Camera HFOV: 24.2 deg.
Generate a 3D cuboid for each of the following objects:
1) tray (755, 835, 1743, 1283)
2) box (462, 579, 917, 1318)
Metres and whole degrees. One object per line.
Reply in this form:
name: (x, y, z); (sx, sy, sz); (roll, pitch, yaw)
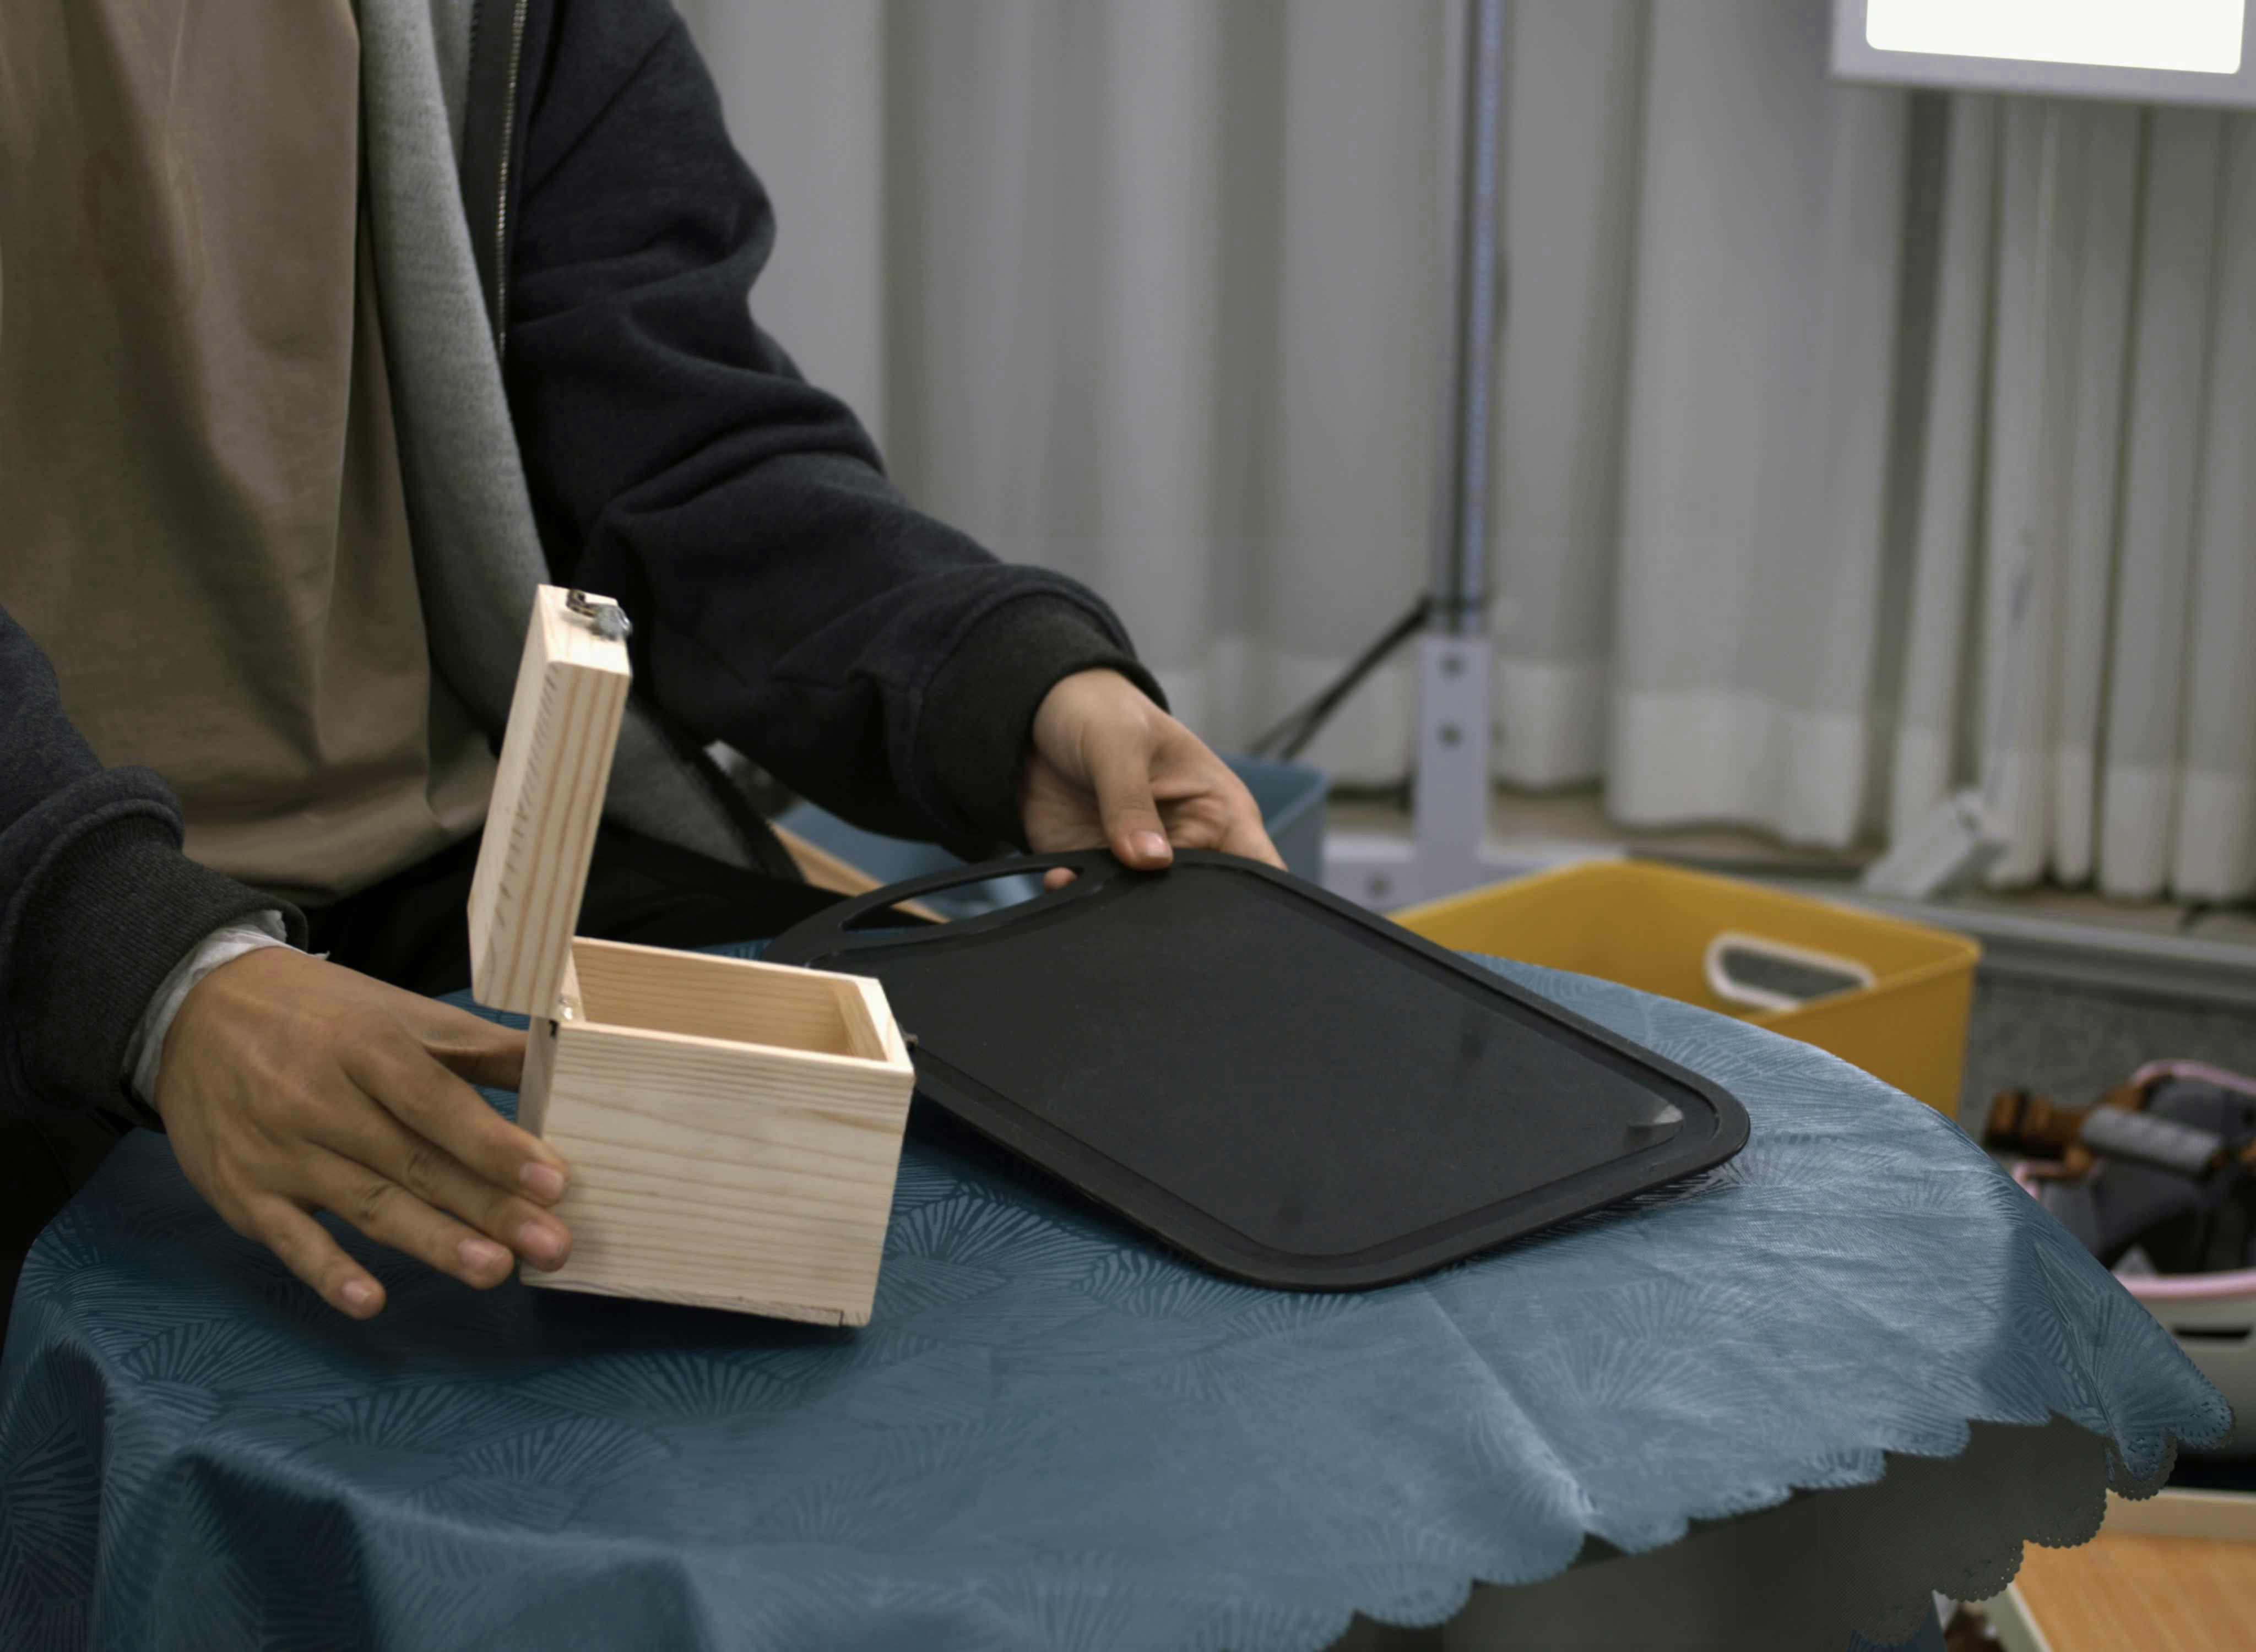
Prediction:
tray: (0.029, 0.066, 1.694); (0.212, 0.010, 0.321); (-15, 29, -36)
box: (-0.123, 0.033, 1.504); (0.134, 0.185, 0.102); (6, 13, -12)
